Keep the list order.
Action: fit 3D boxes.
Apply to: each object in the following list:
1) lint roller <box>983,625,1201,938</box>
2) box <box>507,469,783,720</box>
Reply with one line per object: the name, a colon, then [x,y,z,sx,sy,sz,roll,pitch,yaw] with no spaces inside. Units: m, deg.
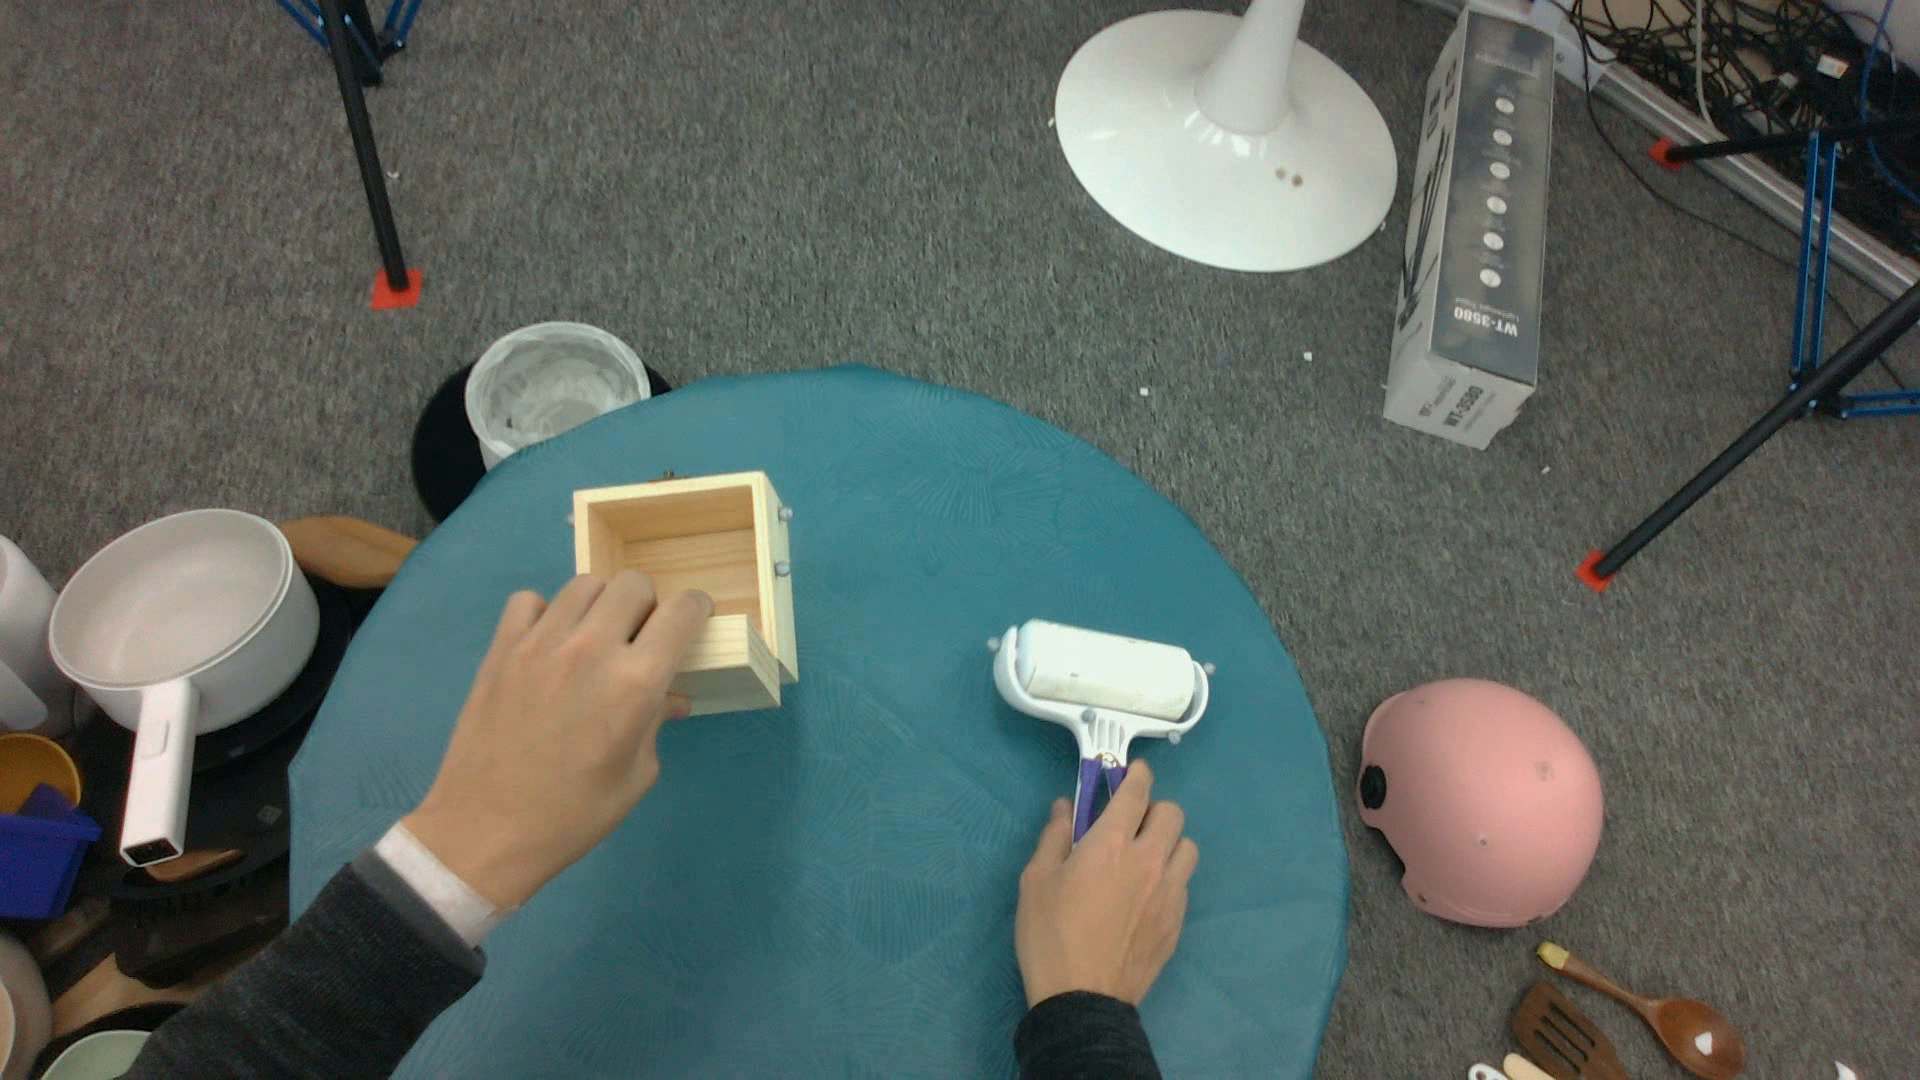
lint roller: [0.078,0.133,0.790,0.133,0.050,0.181,11,51,-11]
box: [-0.153,0.020,0.699,0.102,0.184,0.134,-6,74,-2]
